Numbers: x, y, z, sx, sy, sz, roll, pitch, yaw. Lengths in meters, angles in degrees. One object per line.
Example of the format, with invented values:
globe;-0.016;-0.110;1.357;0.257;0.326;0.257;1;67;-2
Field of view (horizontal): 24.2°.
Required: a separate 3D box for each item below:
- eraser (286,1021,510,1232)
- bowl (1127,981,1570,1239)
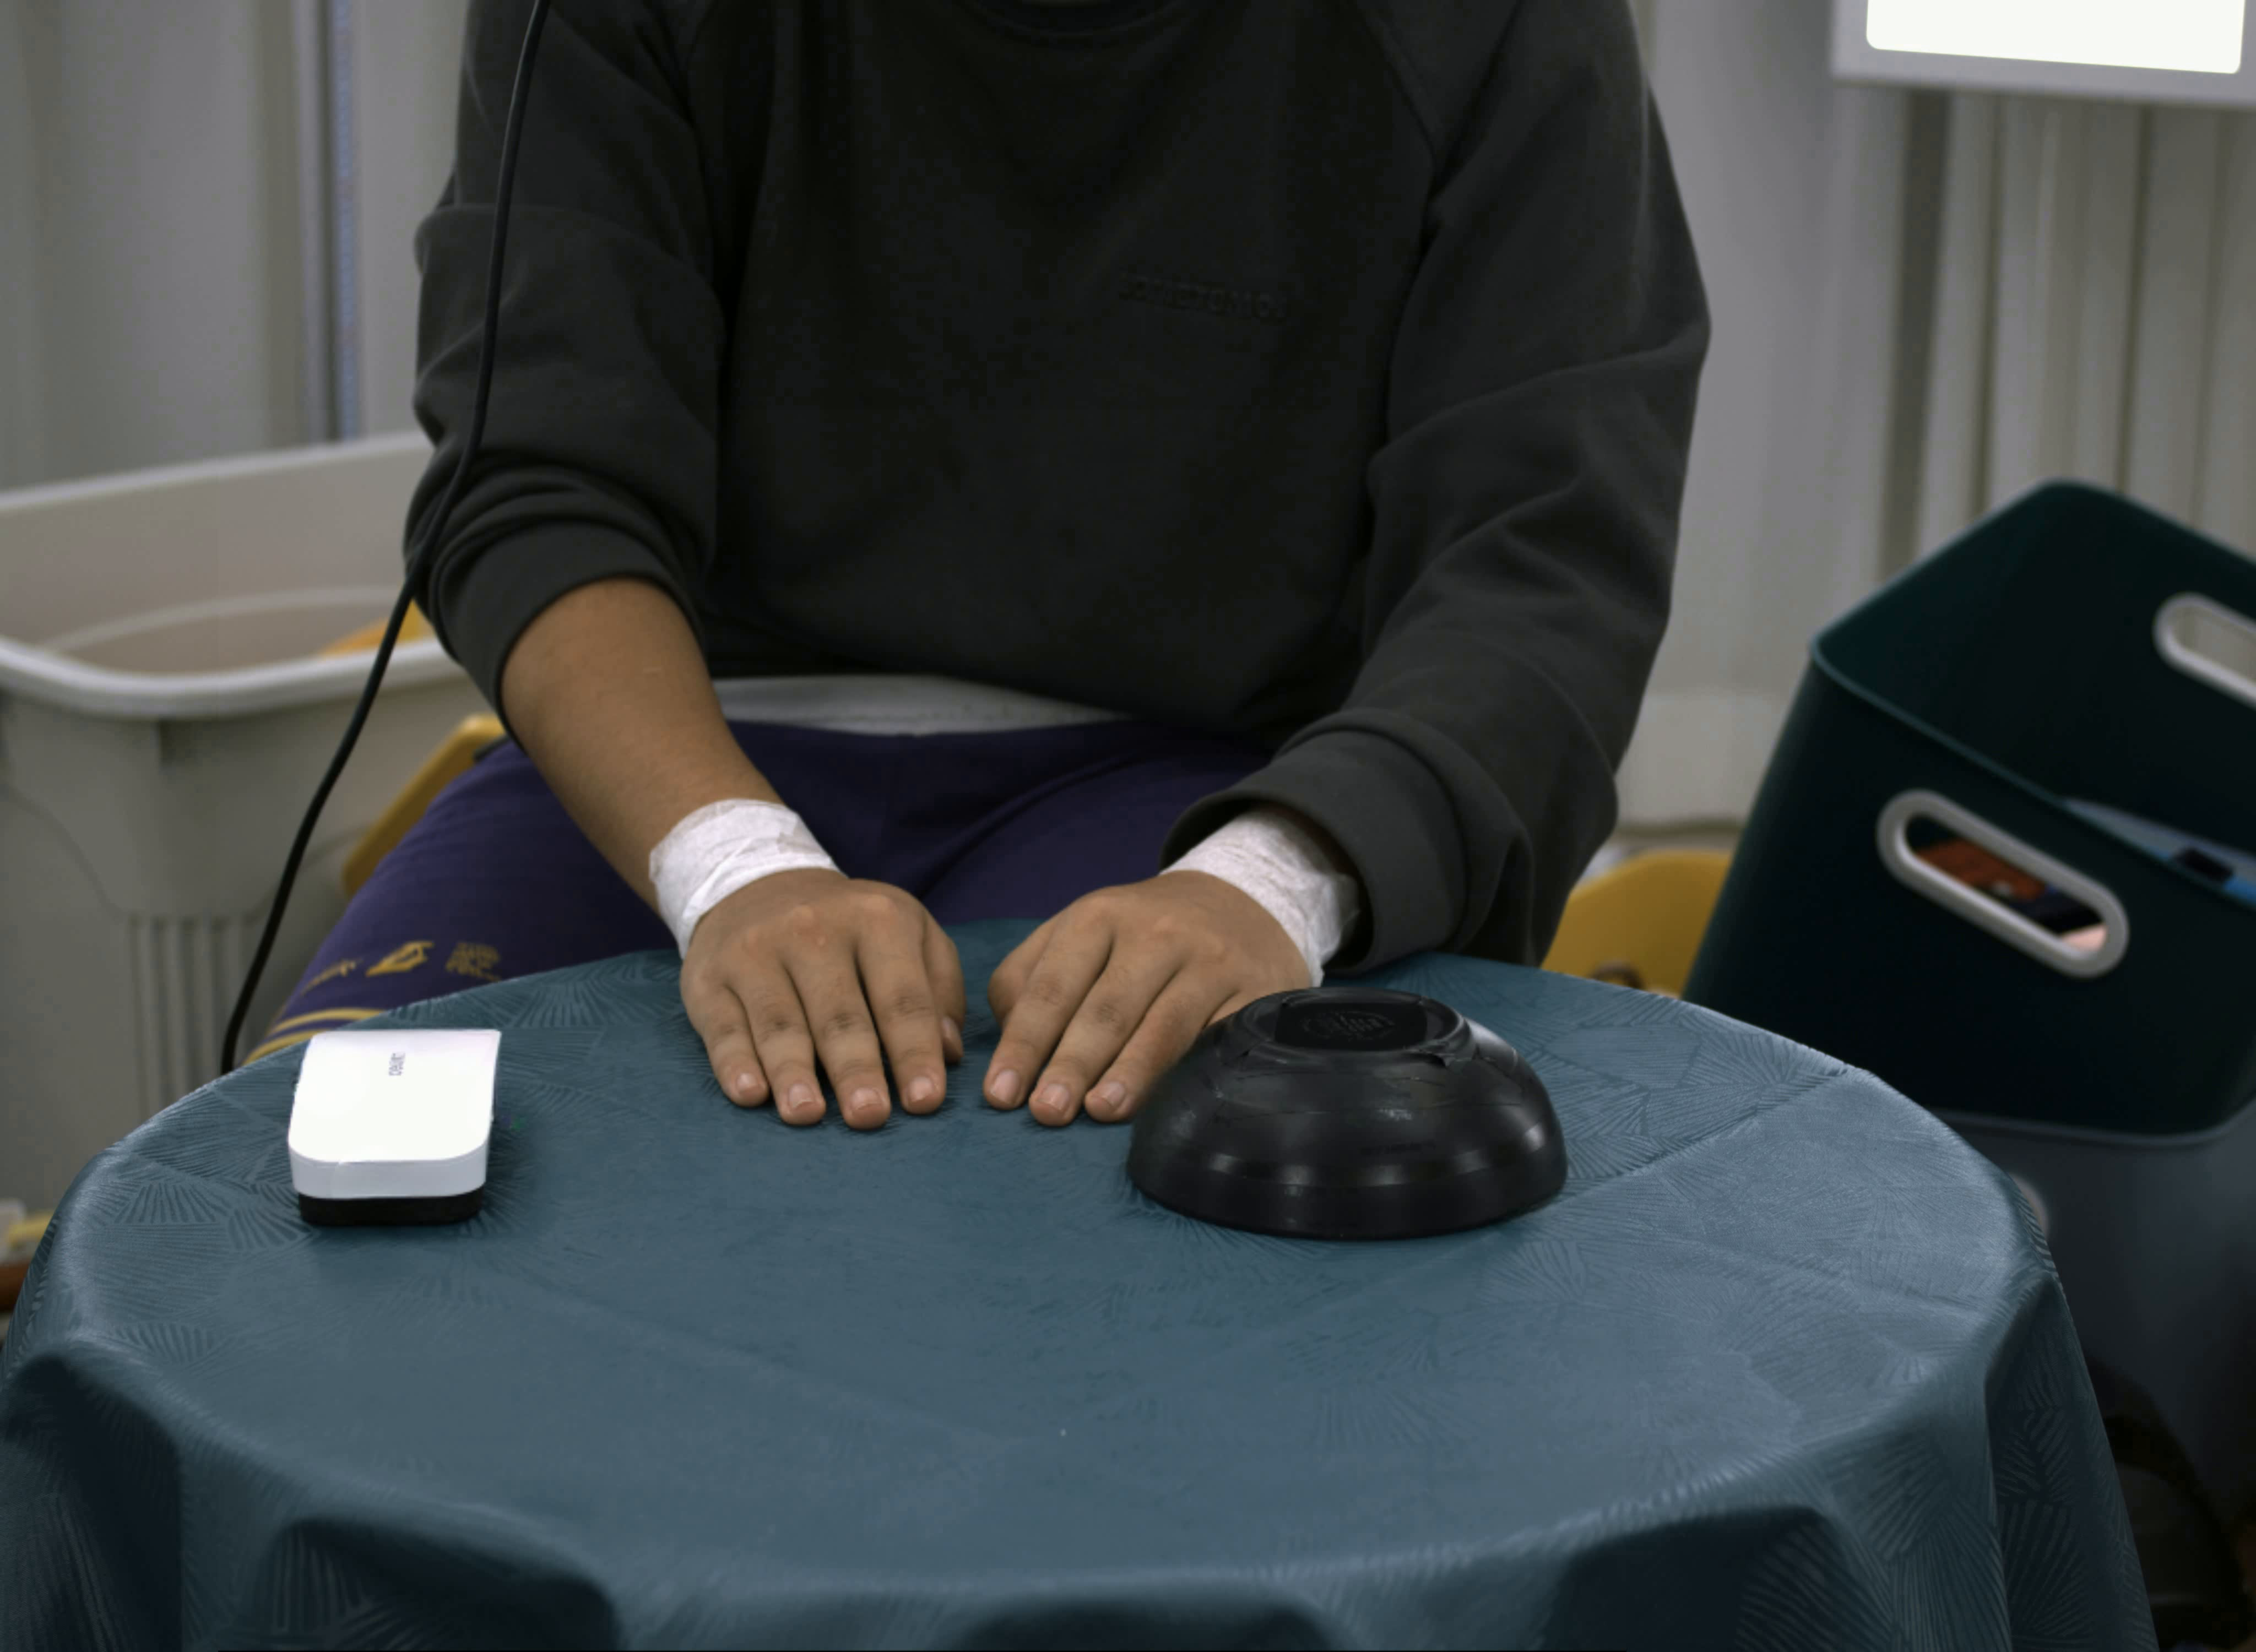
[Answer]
eraser;-0.225;0.089;1.639;0.063;0.035;0.130;1;17;-3
bowl;0.068;0.082;1.639;0.139;0.050;0.139;-1;17;1
